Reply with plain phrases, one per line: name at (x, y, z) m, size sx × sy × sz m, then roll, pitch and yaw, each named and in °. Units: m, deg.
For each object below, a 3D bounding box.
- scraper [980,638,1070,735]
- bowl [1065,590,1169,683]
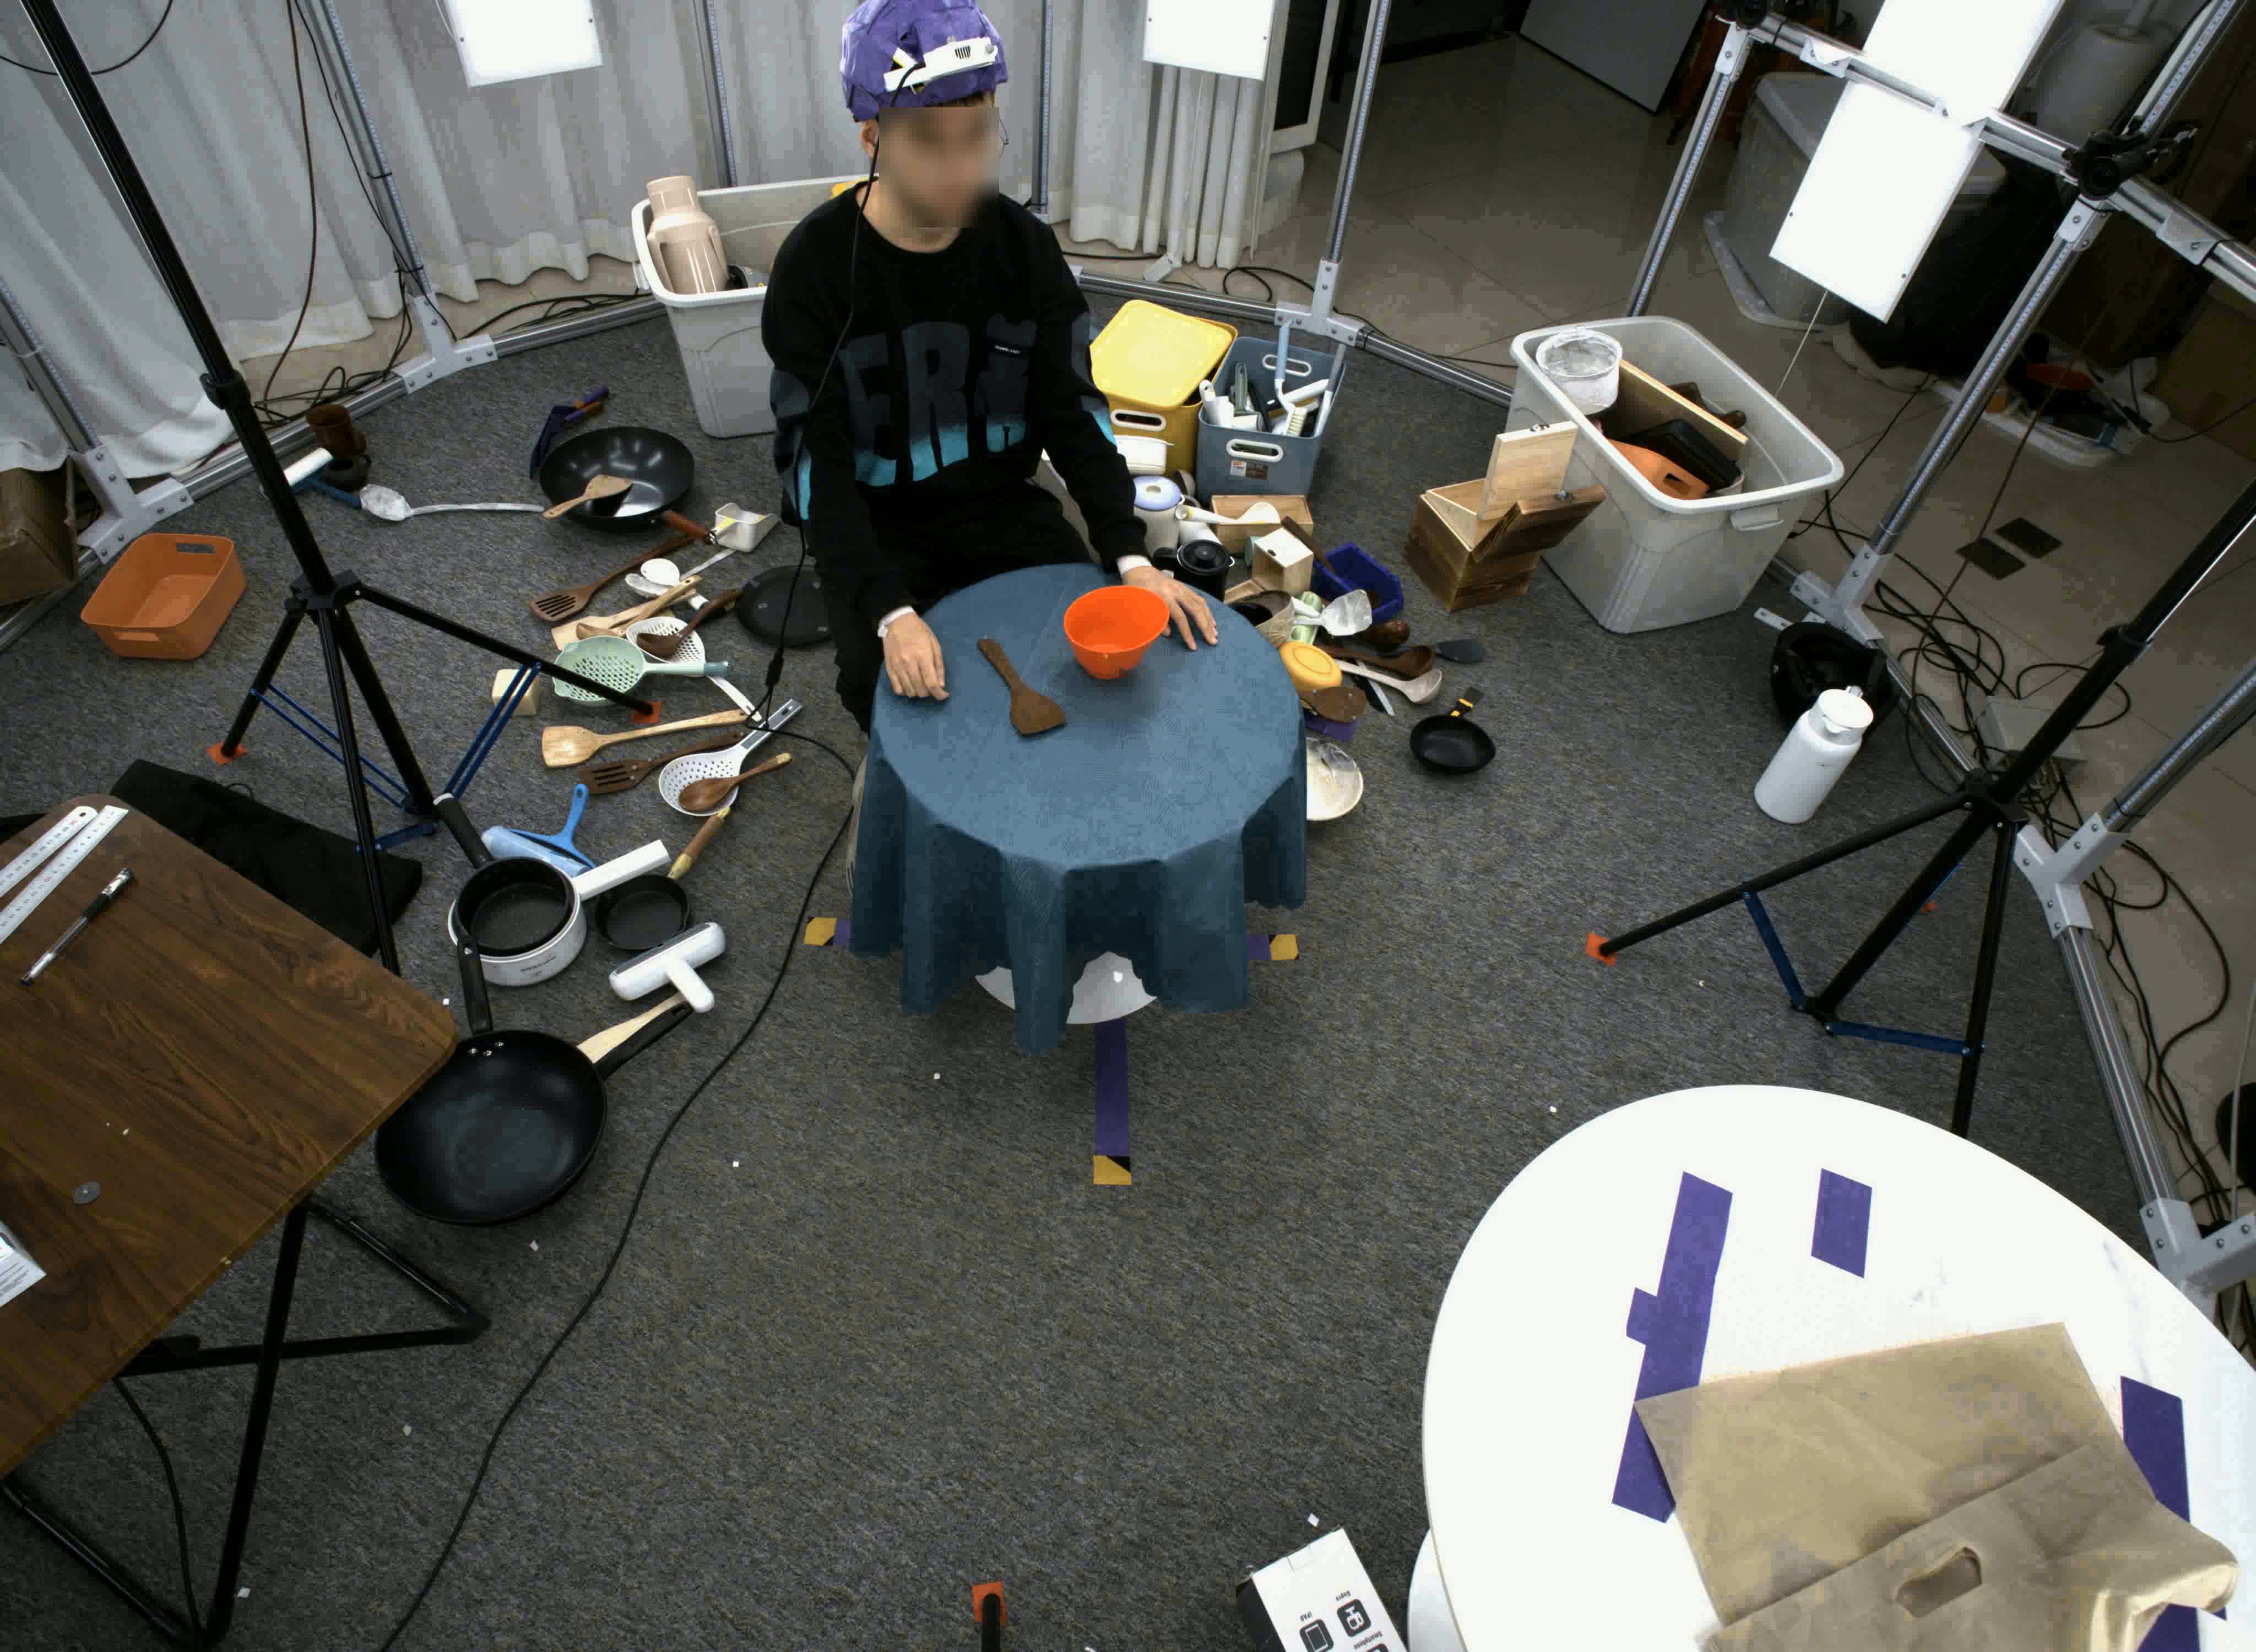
scraper at (-0.159, -0.203, 1.846) m, size 0.076 × 0.010 × 0.216 m, roll -19°, pitch 52°, yaw -21°
bowl at (-0.018, -0.263, 1.849) m, size 0.148 × 0.102 × 0.152 m, roll 1°, pitch 48°, yaw -1°
